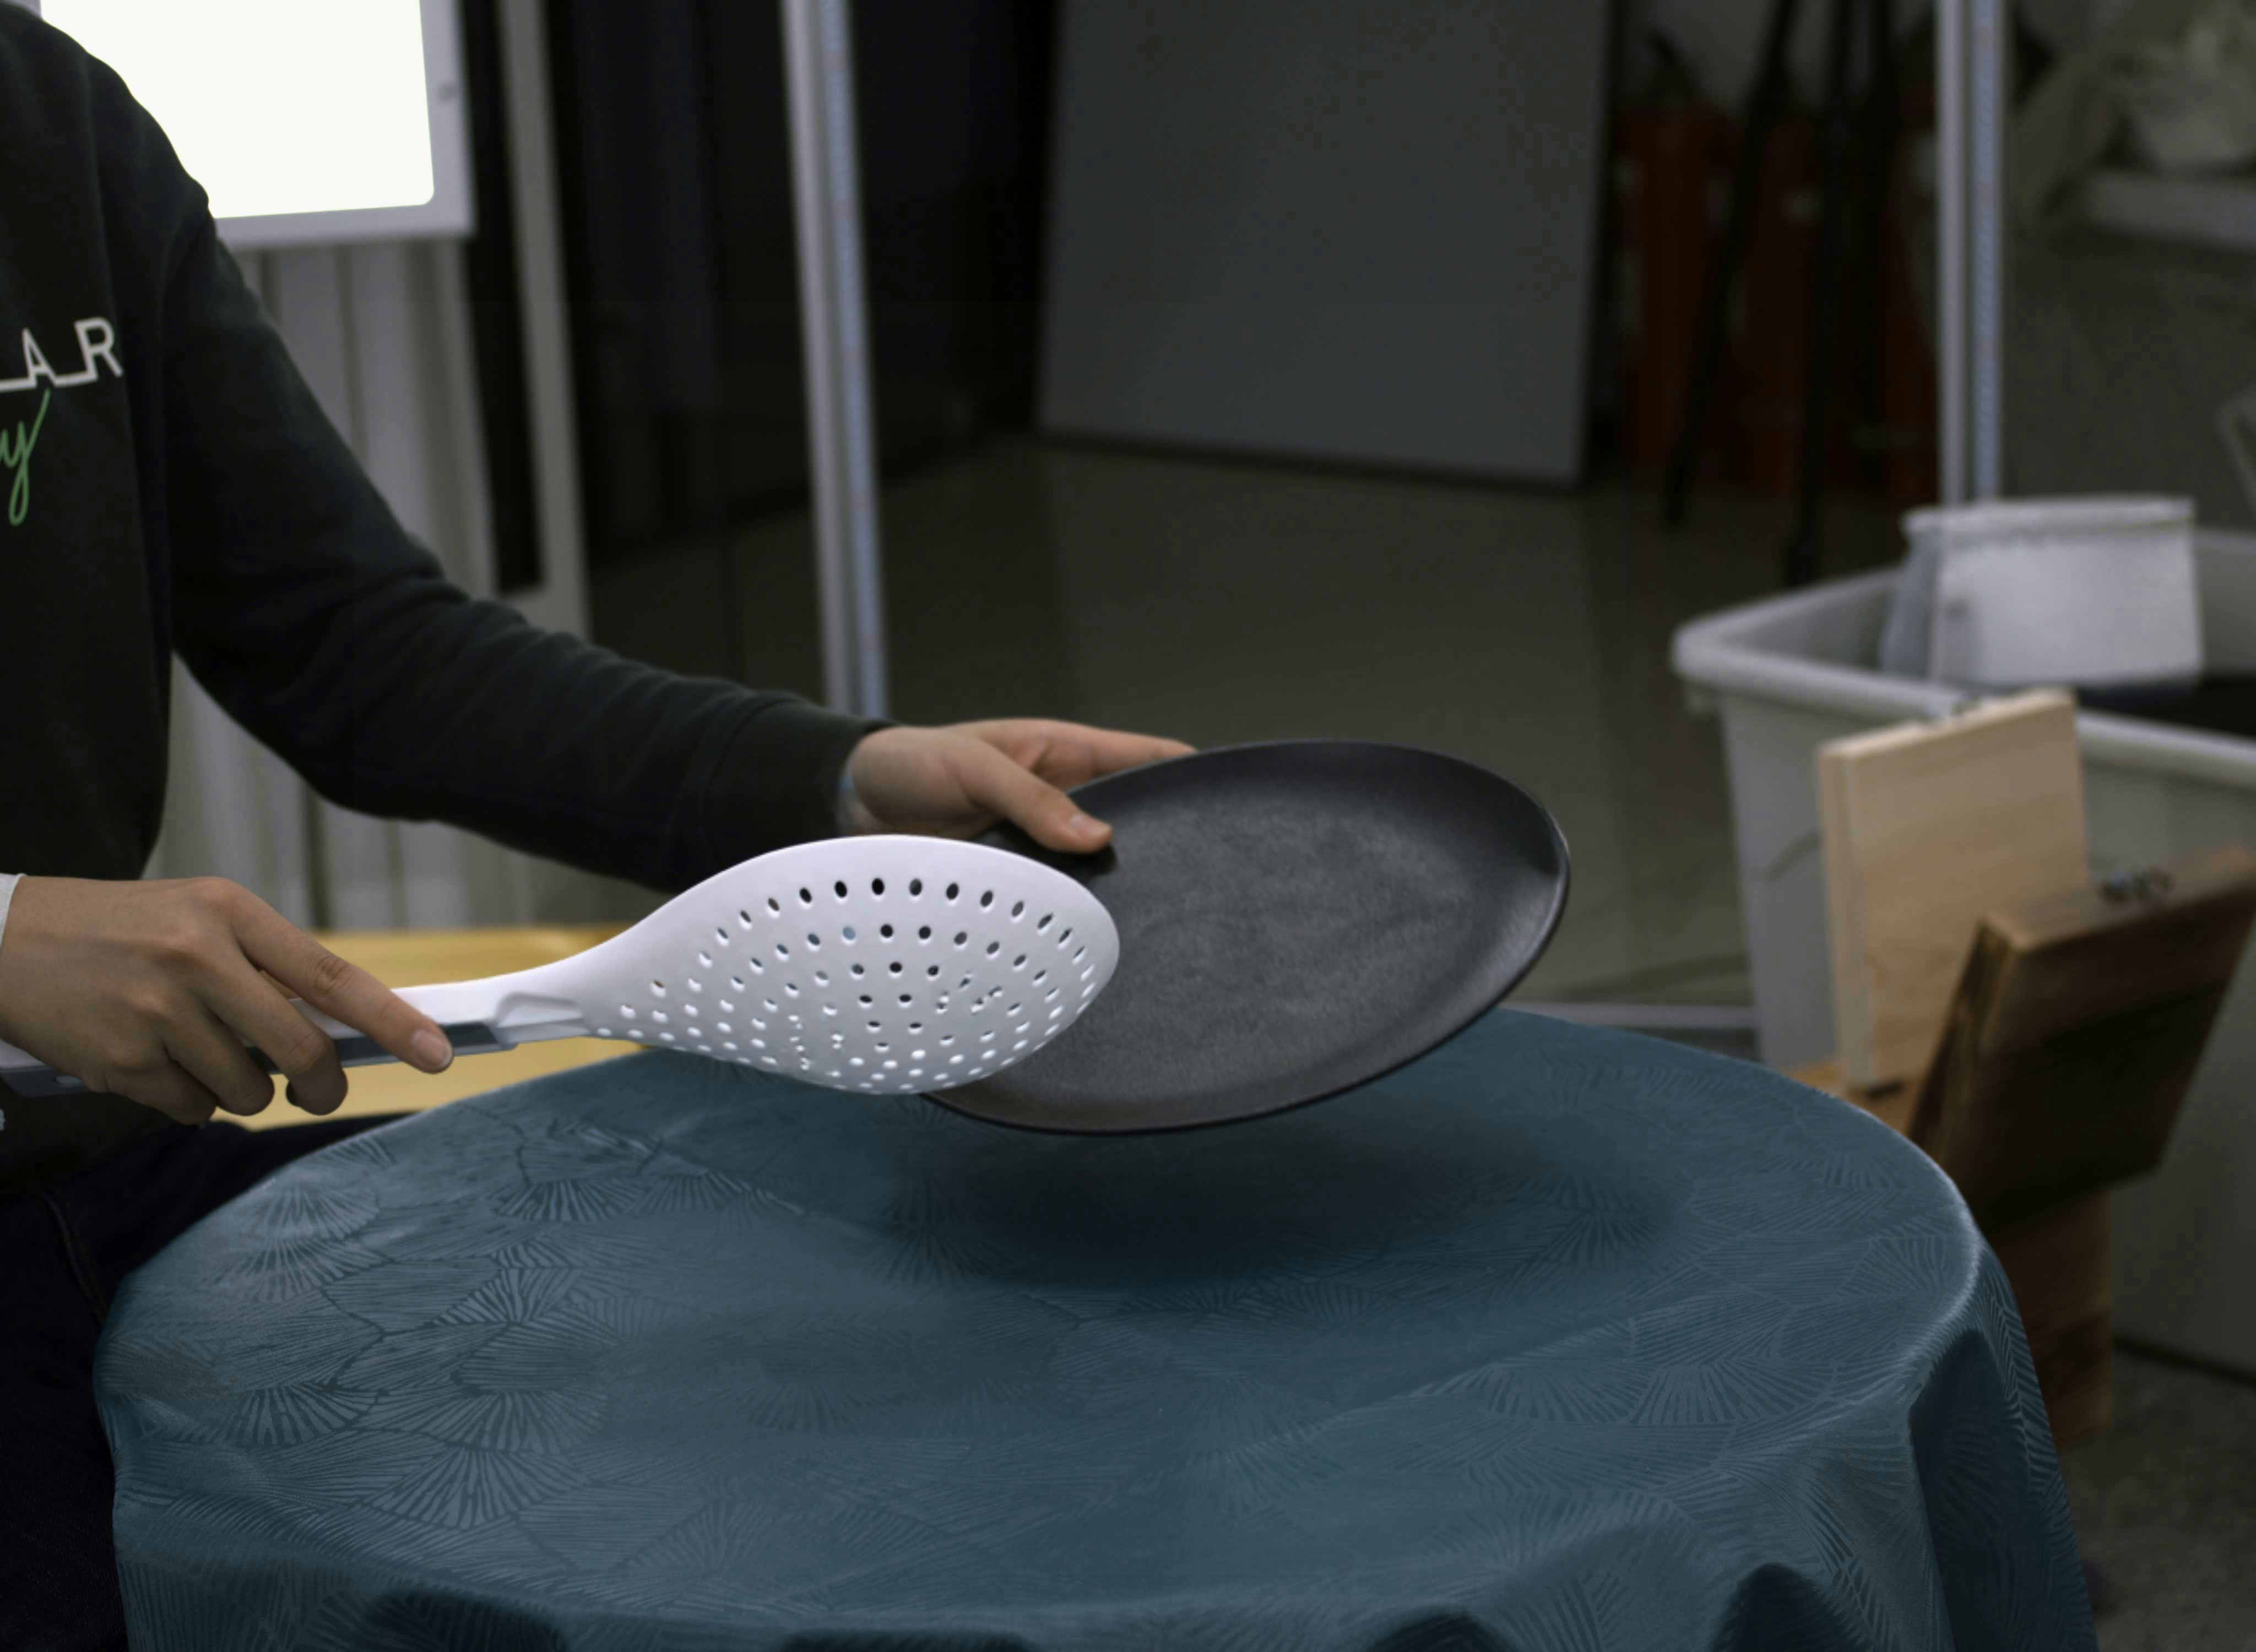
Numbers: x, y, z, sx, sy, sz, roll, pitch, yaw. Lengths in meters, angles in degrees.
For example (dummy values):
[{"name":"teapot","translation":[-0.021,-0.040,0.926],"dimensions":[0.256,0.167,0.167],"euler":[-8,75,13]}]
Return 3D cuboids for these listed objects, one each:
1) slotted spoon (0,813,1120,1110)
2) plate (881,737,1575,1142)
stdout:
[{"name":"slotted spoon","translation":[-0.173,0.053,1.623],"dimensions":[0.348,0.046,0.135],"euler":[-4,-32,15]},{"name":"plate","translation":[0.030,0.042,1.773],"dimensions":[0.242,0.023,0.245],"euler":[-12,28,5]}]
